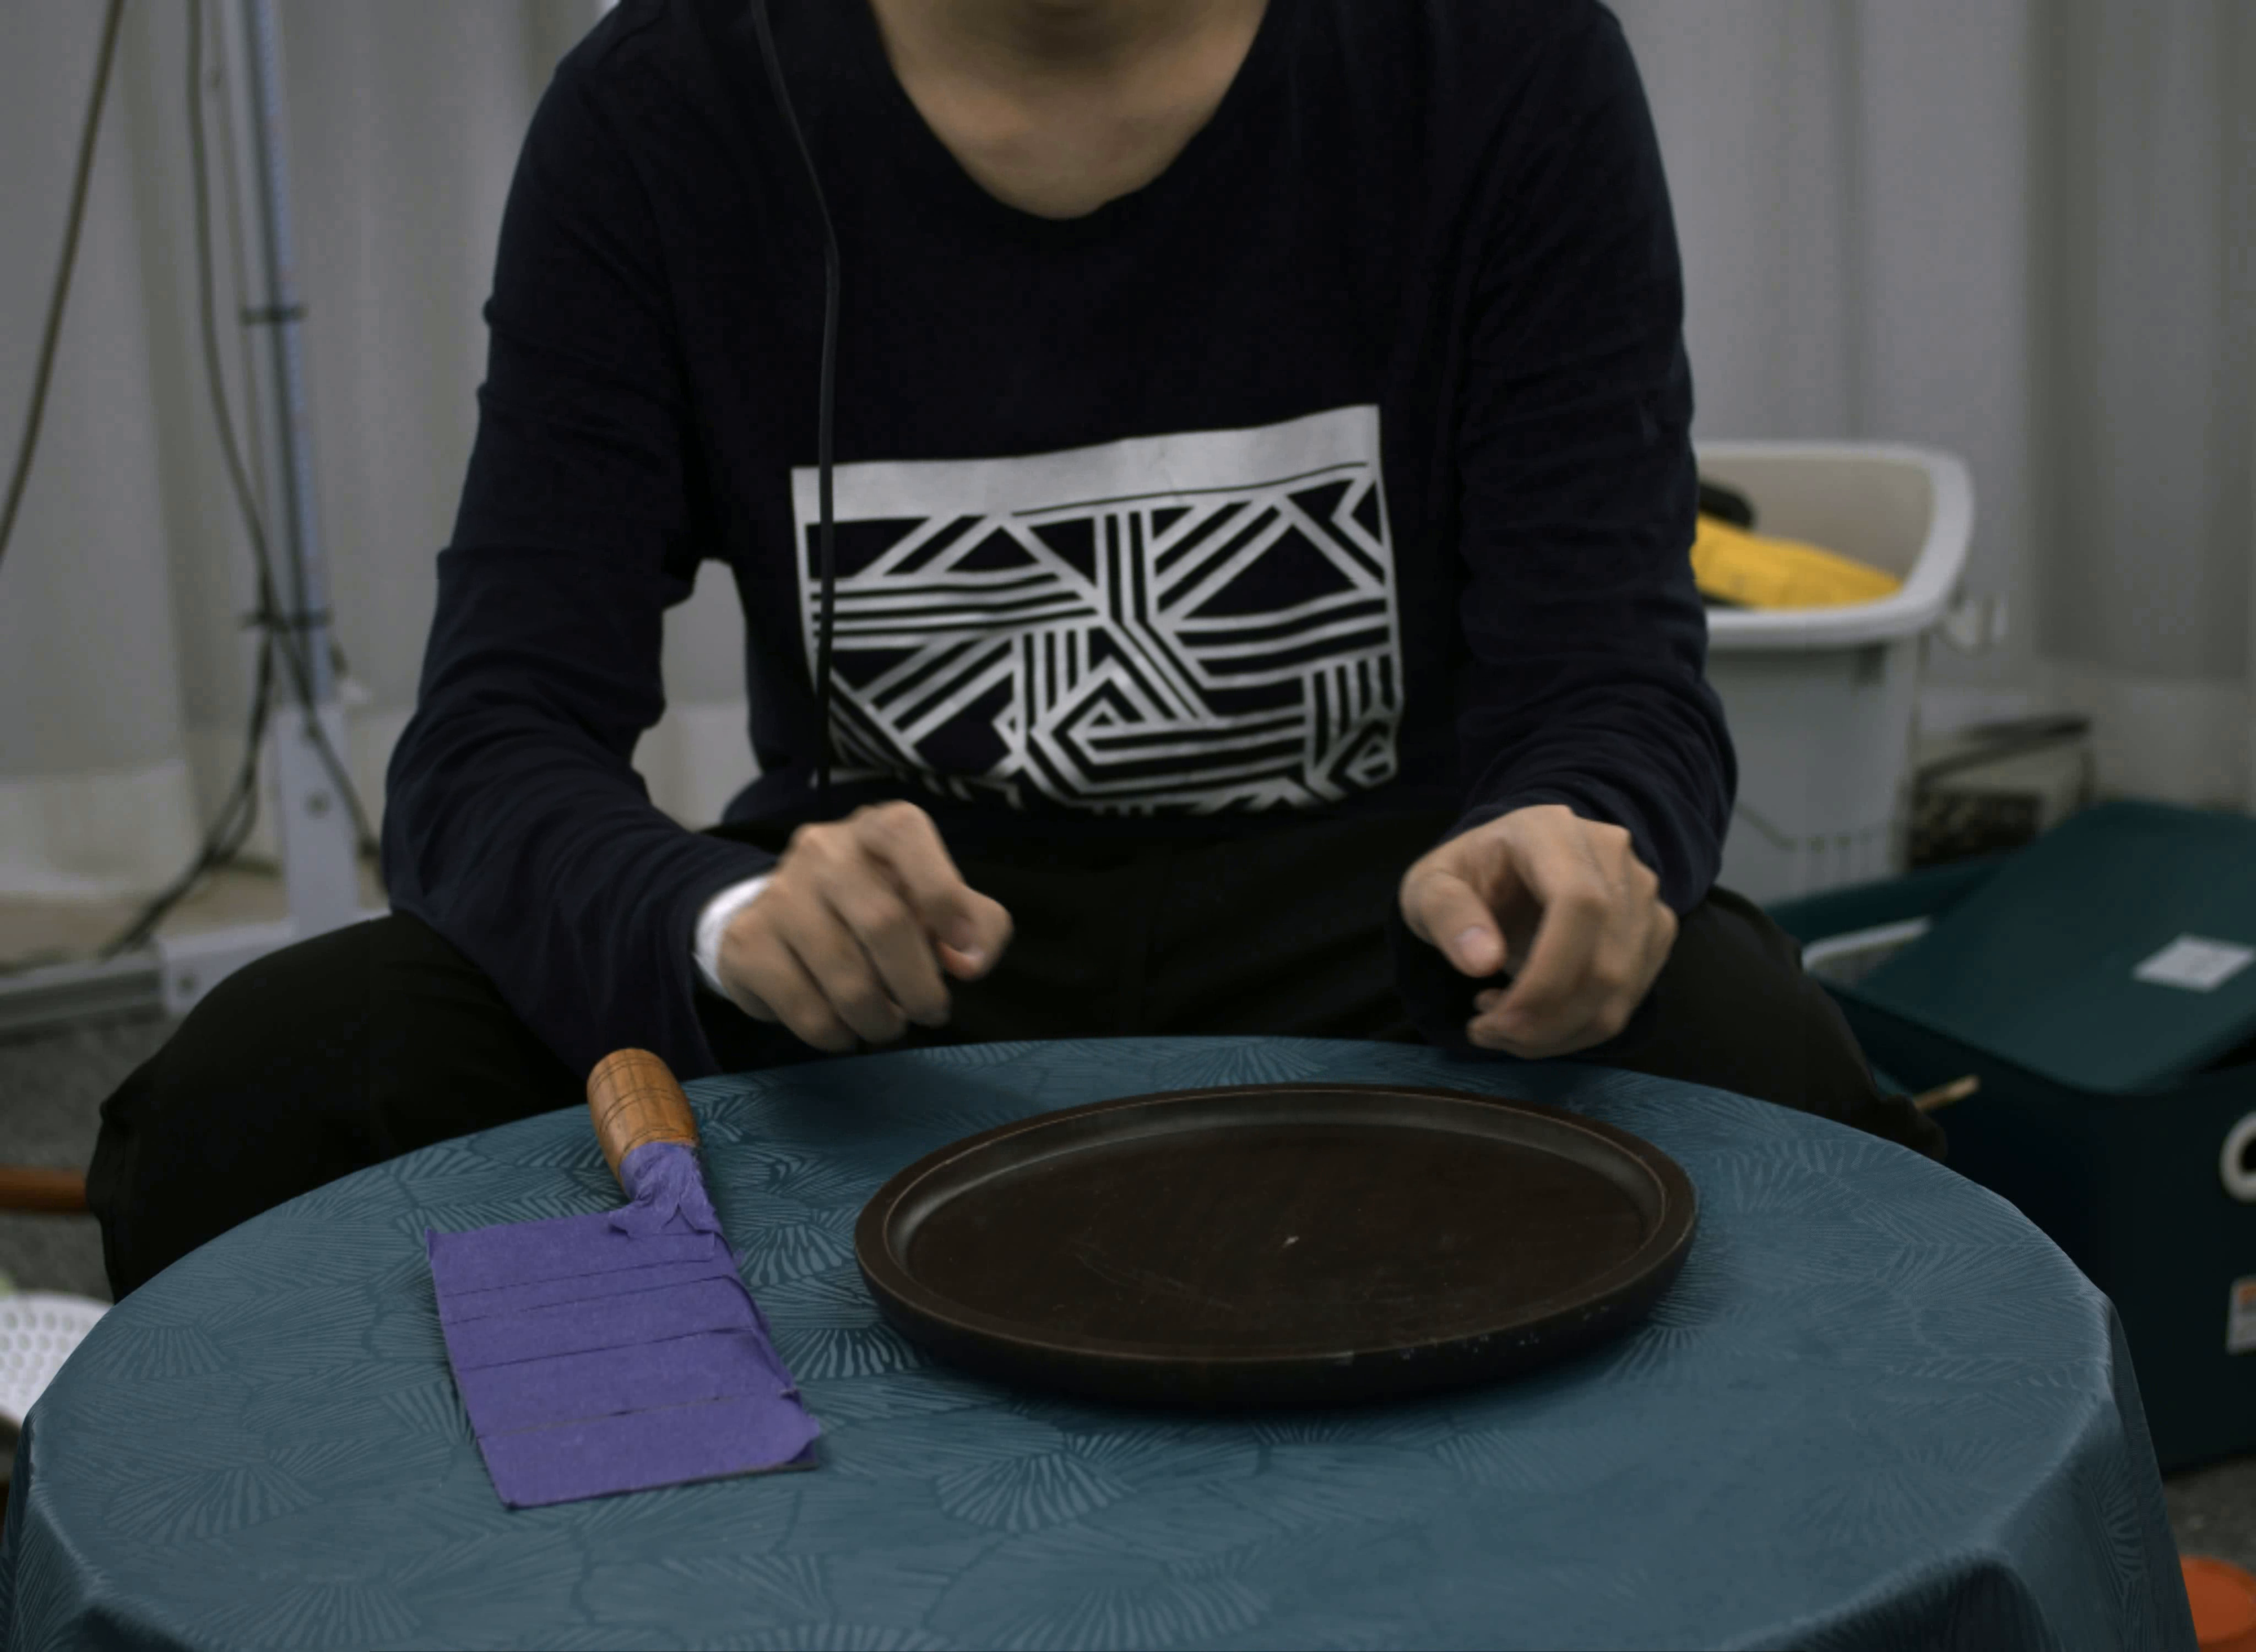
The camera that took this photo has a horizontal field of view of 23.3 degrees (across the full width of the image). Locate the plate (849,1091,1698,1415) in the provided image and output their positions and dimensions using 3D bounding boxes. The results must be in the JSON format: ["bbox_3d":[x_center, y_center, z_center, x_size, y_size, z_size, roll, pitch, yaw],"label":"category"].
[{"bbox_3d":[0.043,0.124,1.628,0.254,0.029,0.256,-2,16,0],"label":"plate"}]

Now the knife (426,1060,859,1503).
[{"bbox_3d":[-0.159,0.132,1.632,0.103,0.032,0.318,-6,15,-12],"label":"knife"}]
